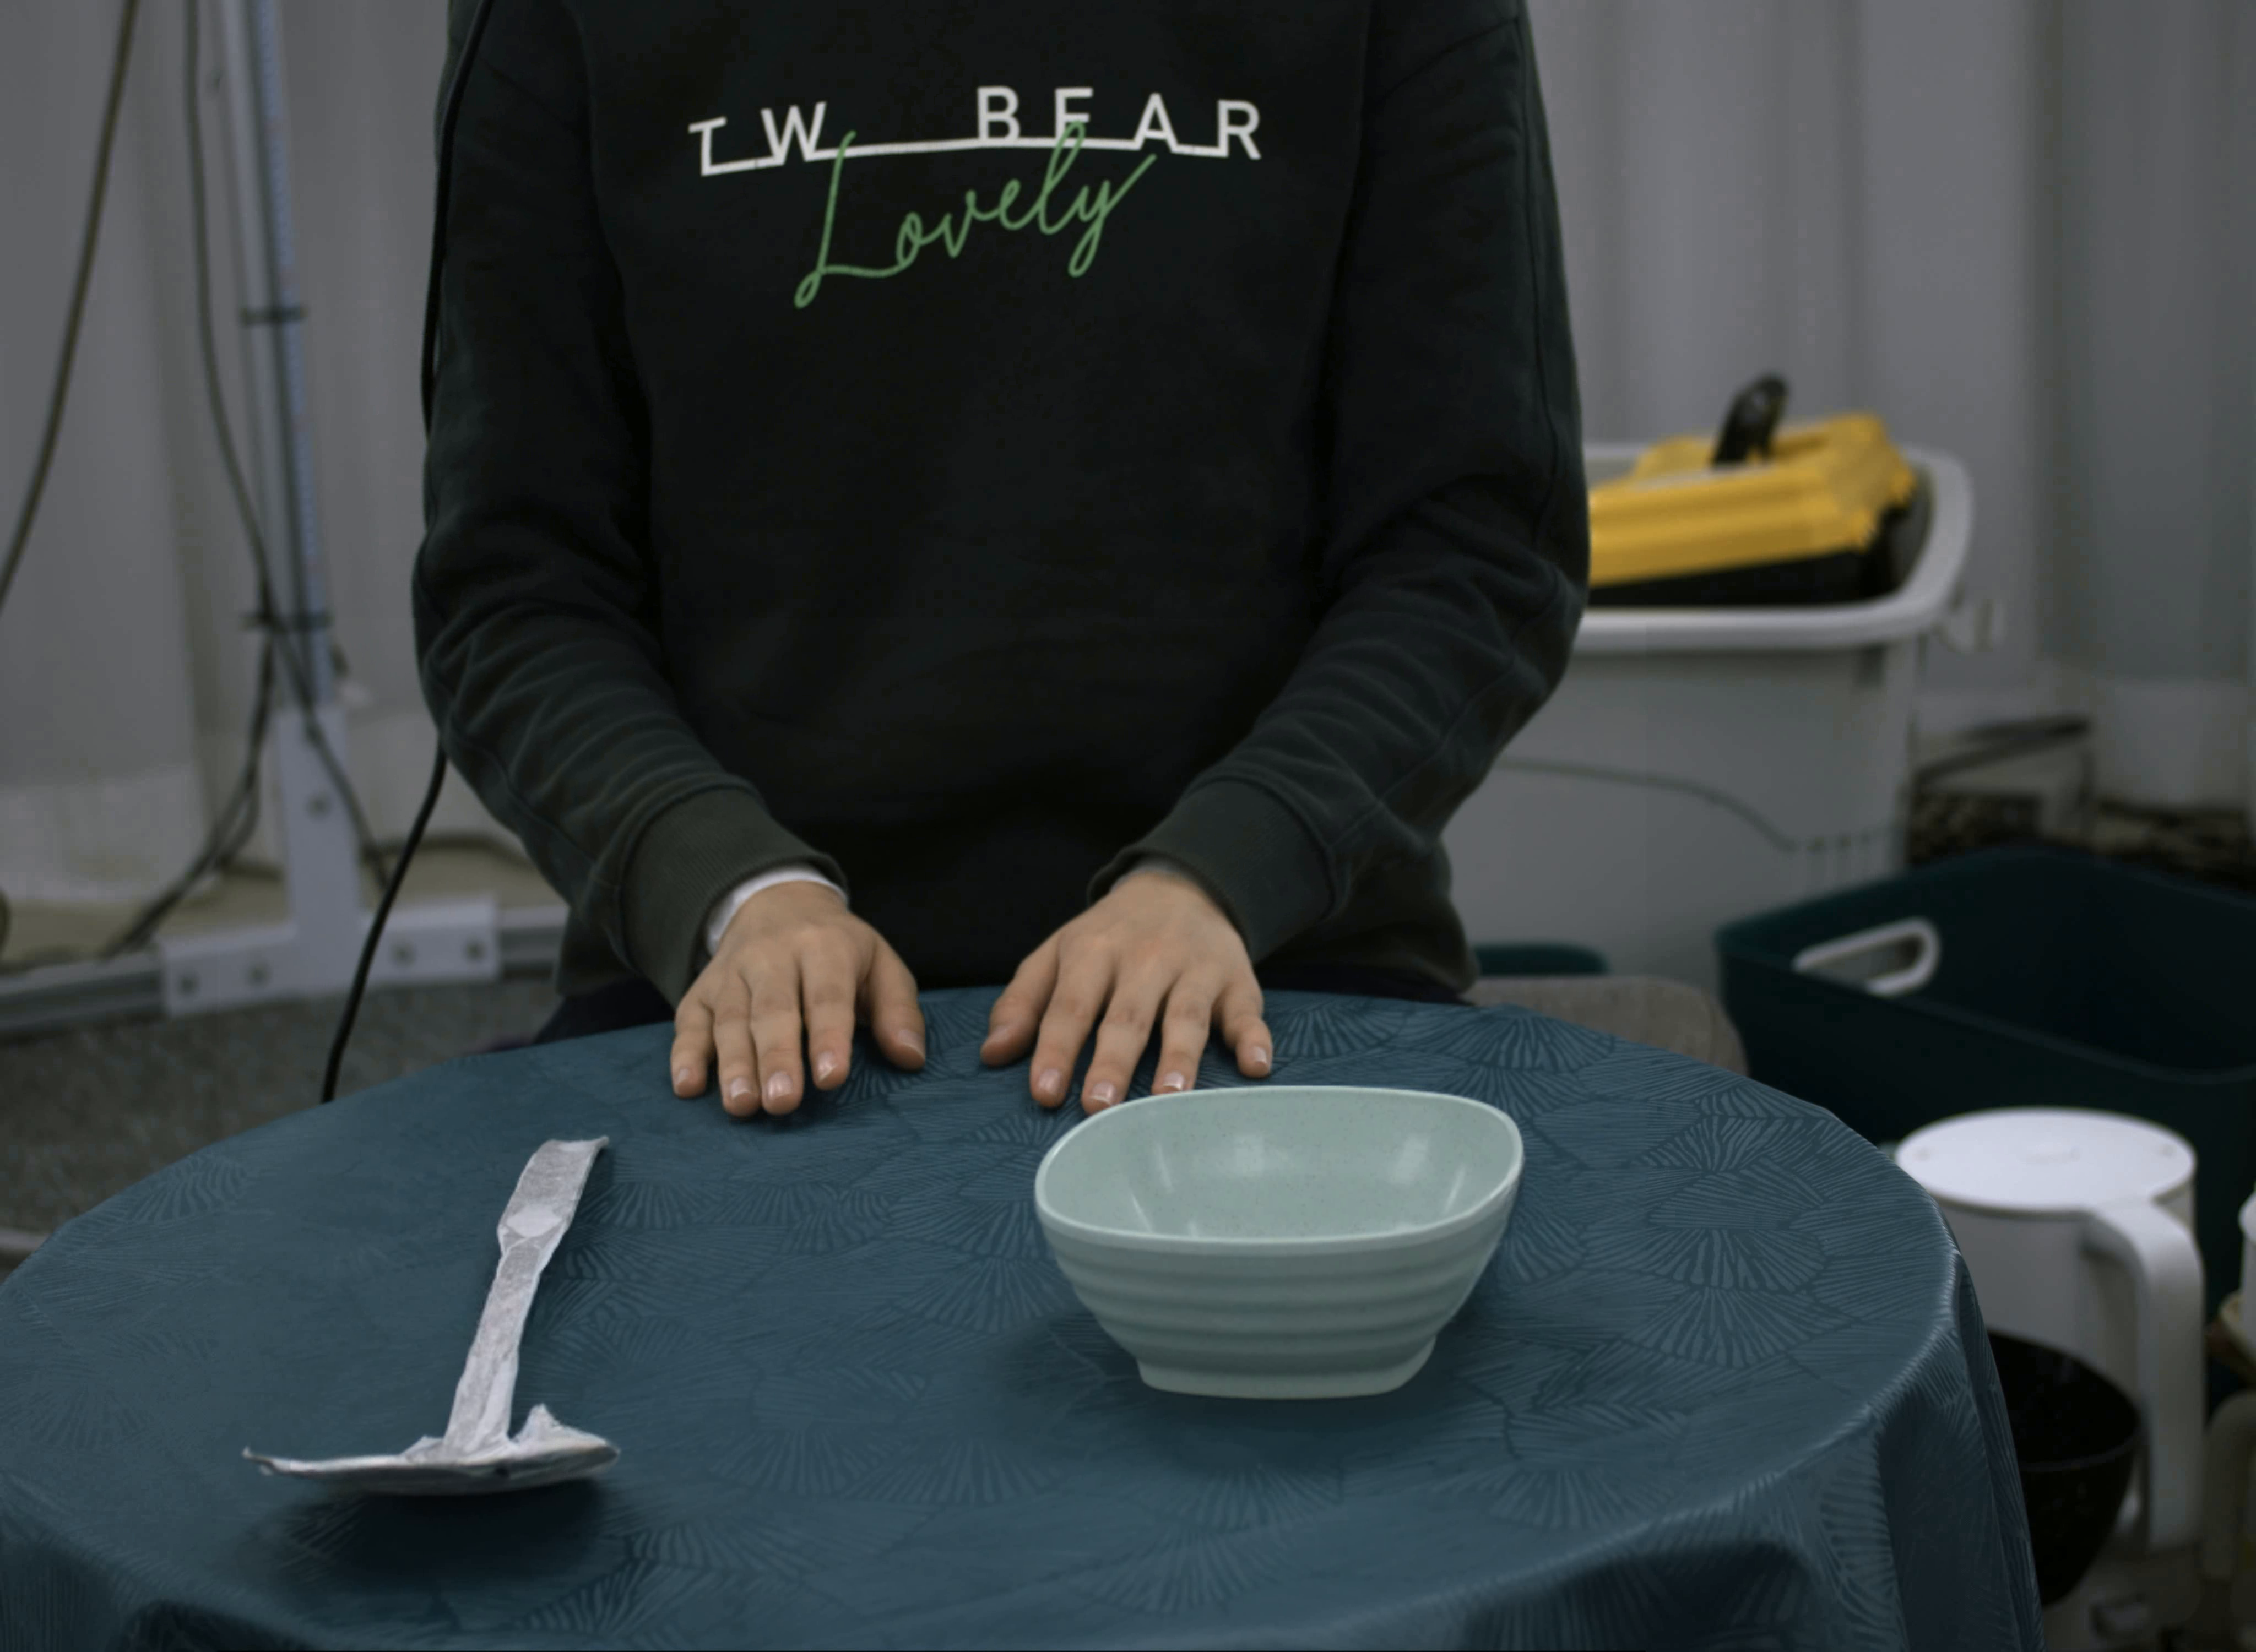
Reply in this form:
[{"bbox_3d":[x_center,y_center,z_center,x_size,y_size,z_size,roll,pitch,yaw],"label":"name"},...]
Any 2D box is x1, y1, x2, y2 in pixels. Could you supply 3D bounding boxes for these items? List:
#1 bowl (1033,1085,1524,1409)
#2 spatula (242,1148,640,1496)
[{"bbox_3d":[0.043,0.124,1.566,0.151,0.058,0.152,-1,16,0],"label":"bowl"},{"bbox_3d":[-0.178,0.136,1.595,0.098,0.044,0.367,-4,15,3],"label":"spatula"}]
